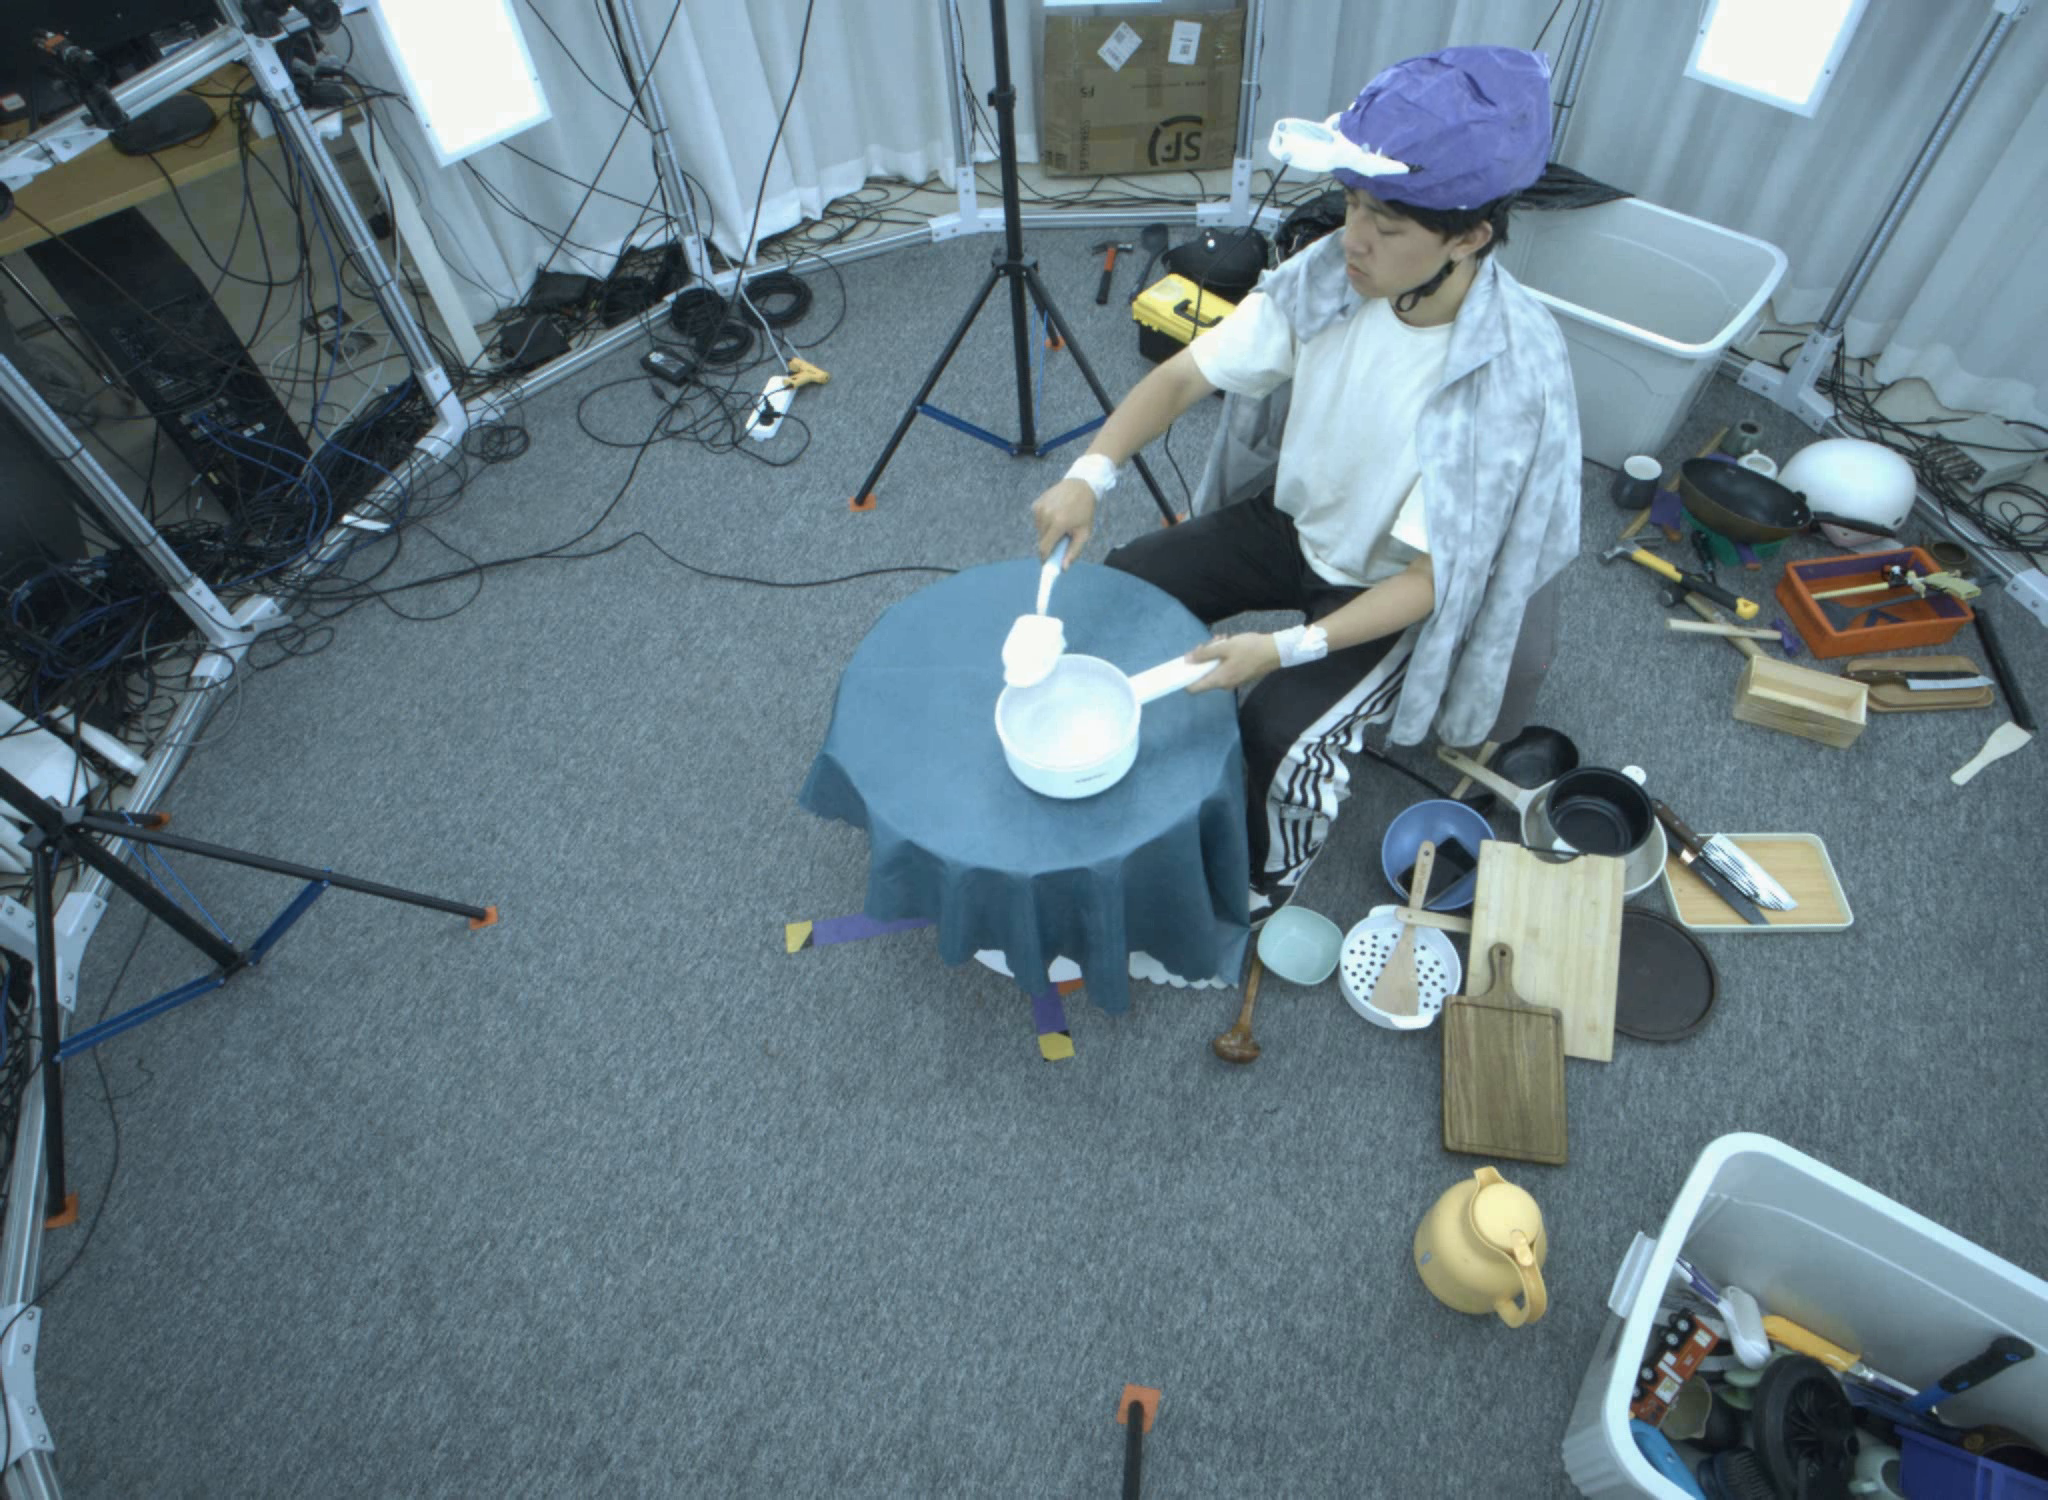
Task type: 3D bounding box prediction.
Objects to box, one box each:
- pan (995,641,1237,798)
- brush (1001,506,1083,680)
[{"bbox_3d":[0.135,-0.057,1.756,0.357,0.103,0.197,-22,56,-10],"label":"pan"},{"bbox_3d":[0.039,-0.220,1.782,0.084,0.083,0.324,31,55,-16],"label":"brush"}]
